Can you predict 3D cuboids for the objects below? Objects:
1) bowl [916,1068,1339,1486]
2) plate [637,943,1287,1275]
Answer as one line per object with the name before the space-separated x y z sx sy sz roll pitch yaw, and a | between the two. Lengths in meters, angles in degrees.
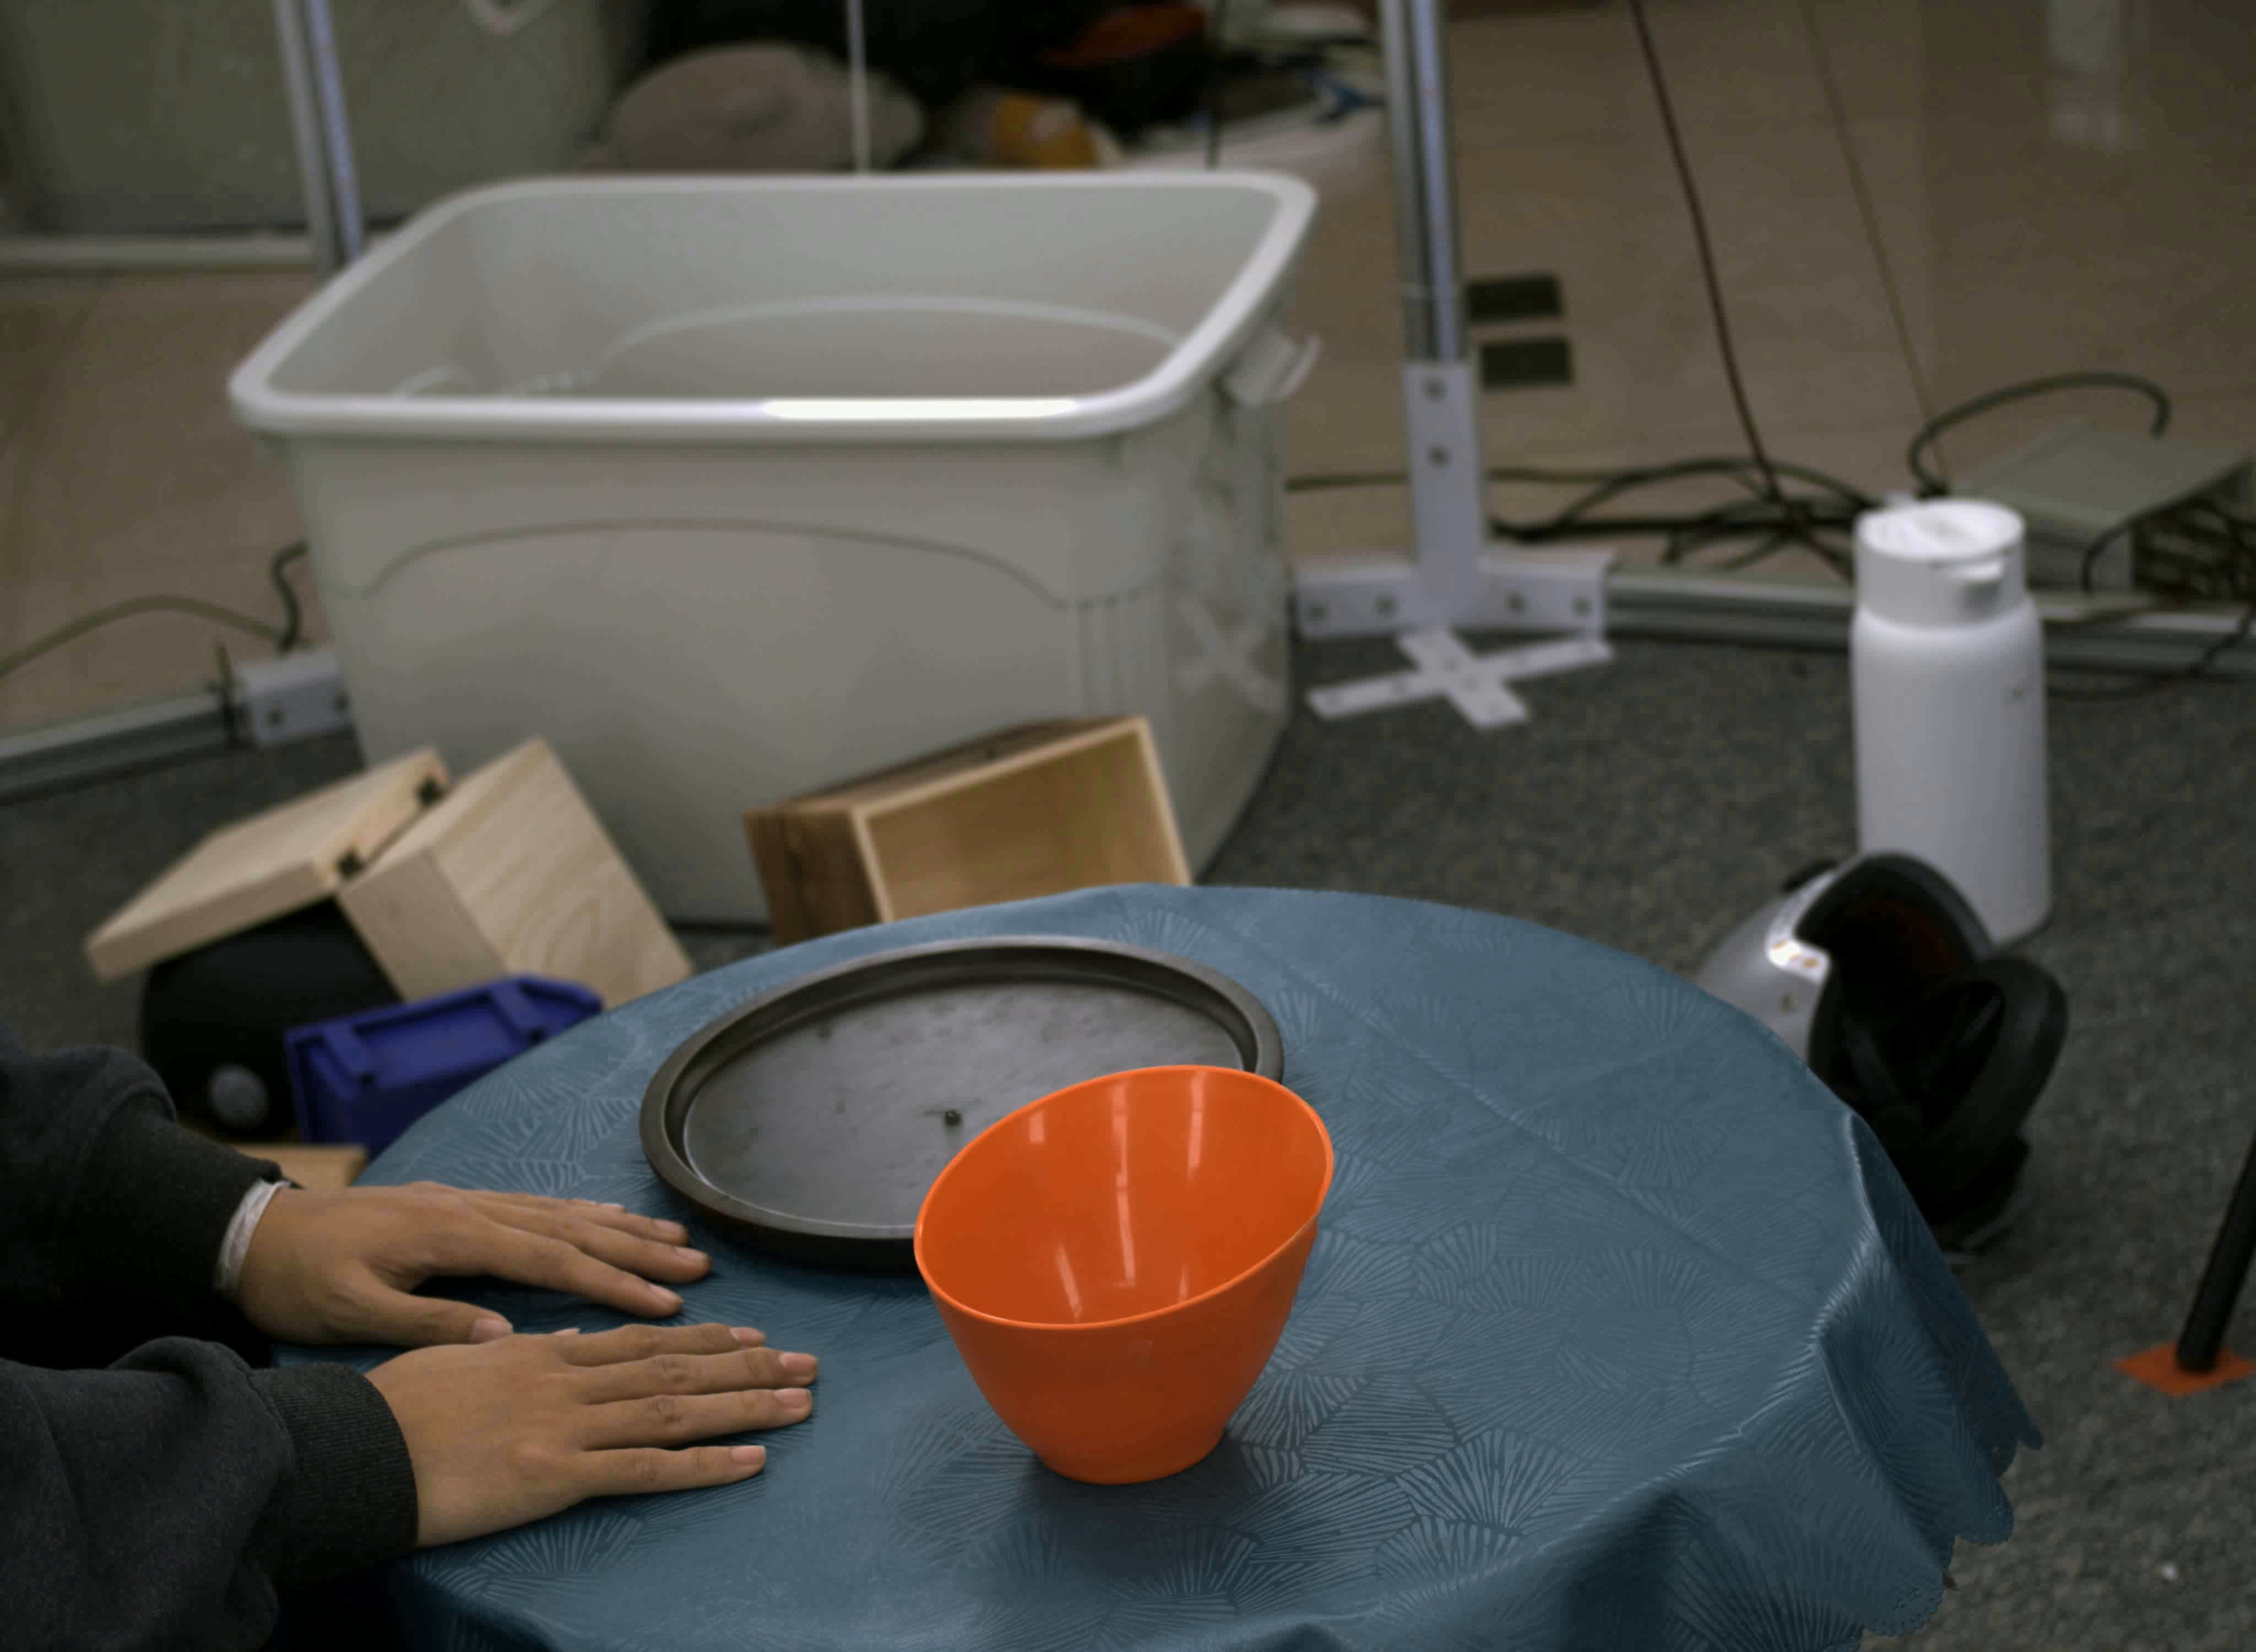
bowl | 0.003 0.163 1.971 0.148 0.106 0.146 -4 26 2
plate | -0.064 0.108 2.203 0.254 0.029 0.251 -5 26 3
